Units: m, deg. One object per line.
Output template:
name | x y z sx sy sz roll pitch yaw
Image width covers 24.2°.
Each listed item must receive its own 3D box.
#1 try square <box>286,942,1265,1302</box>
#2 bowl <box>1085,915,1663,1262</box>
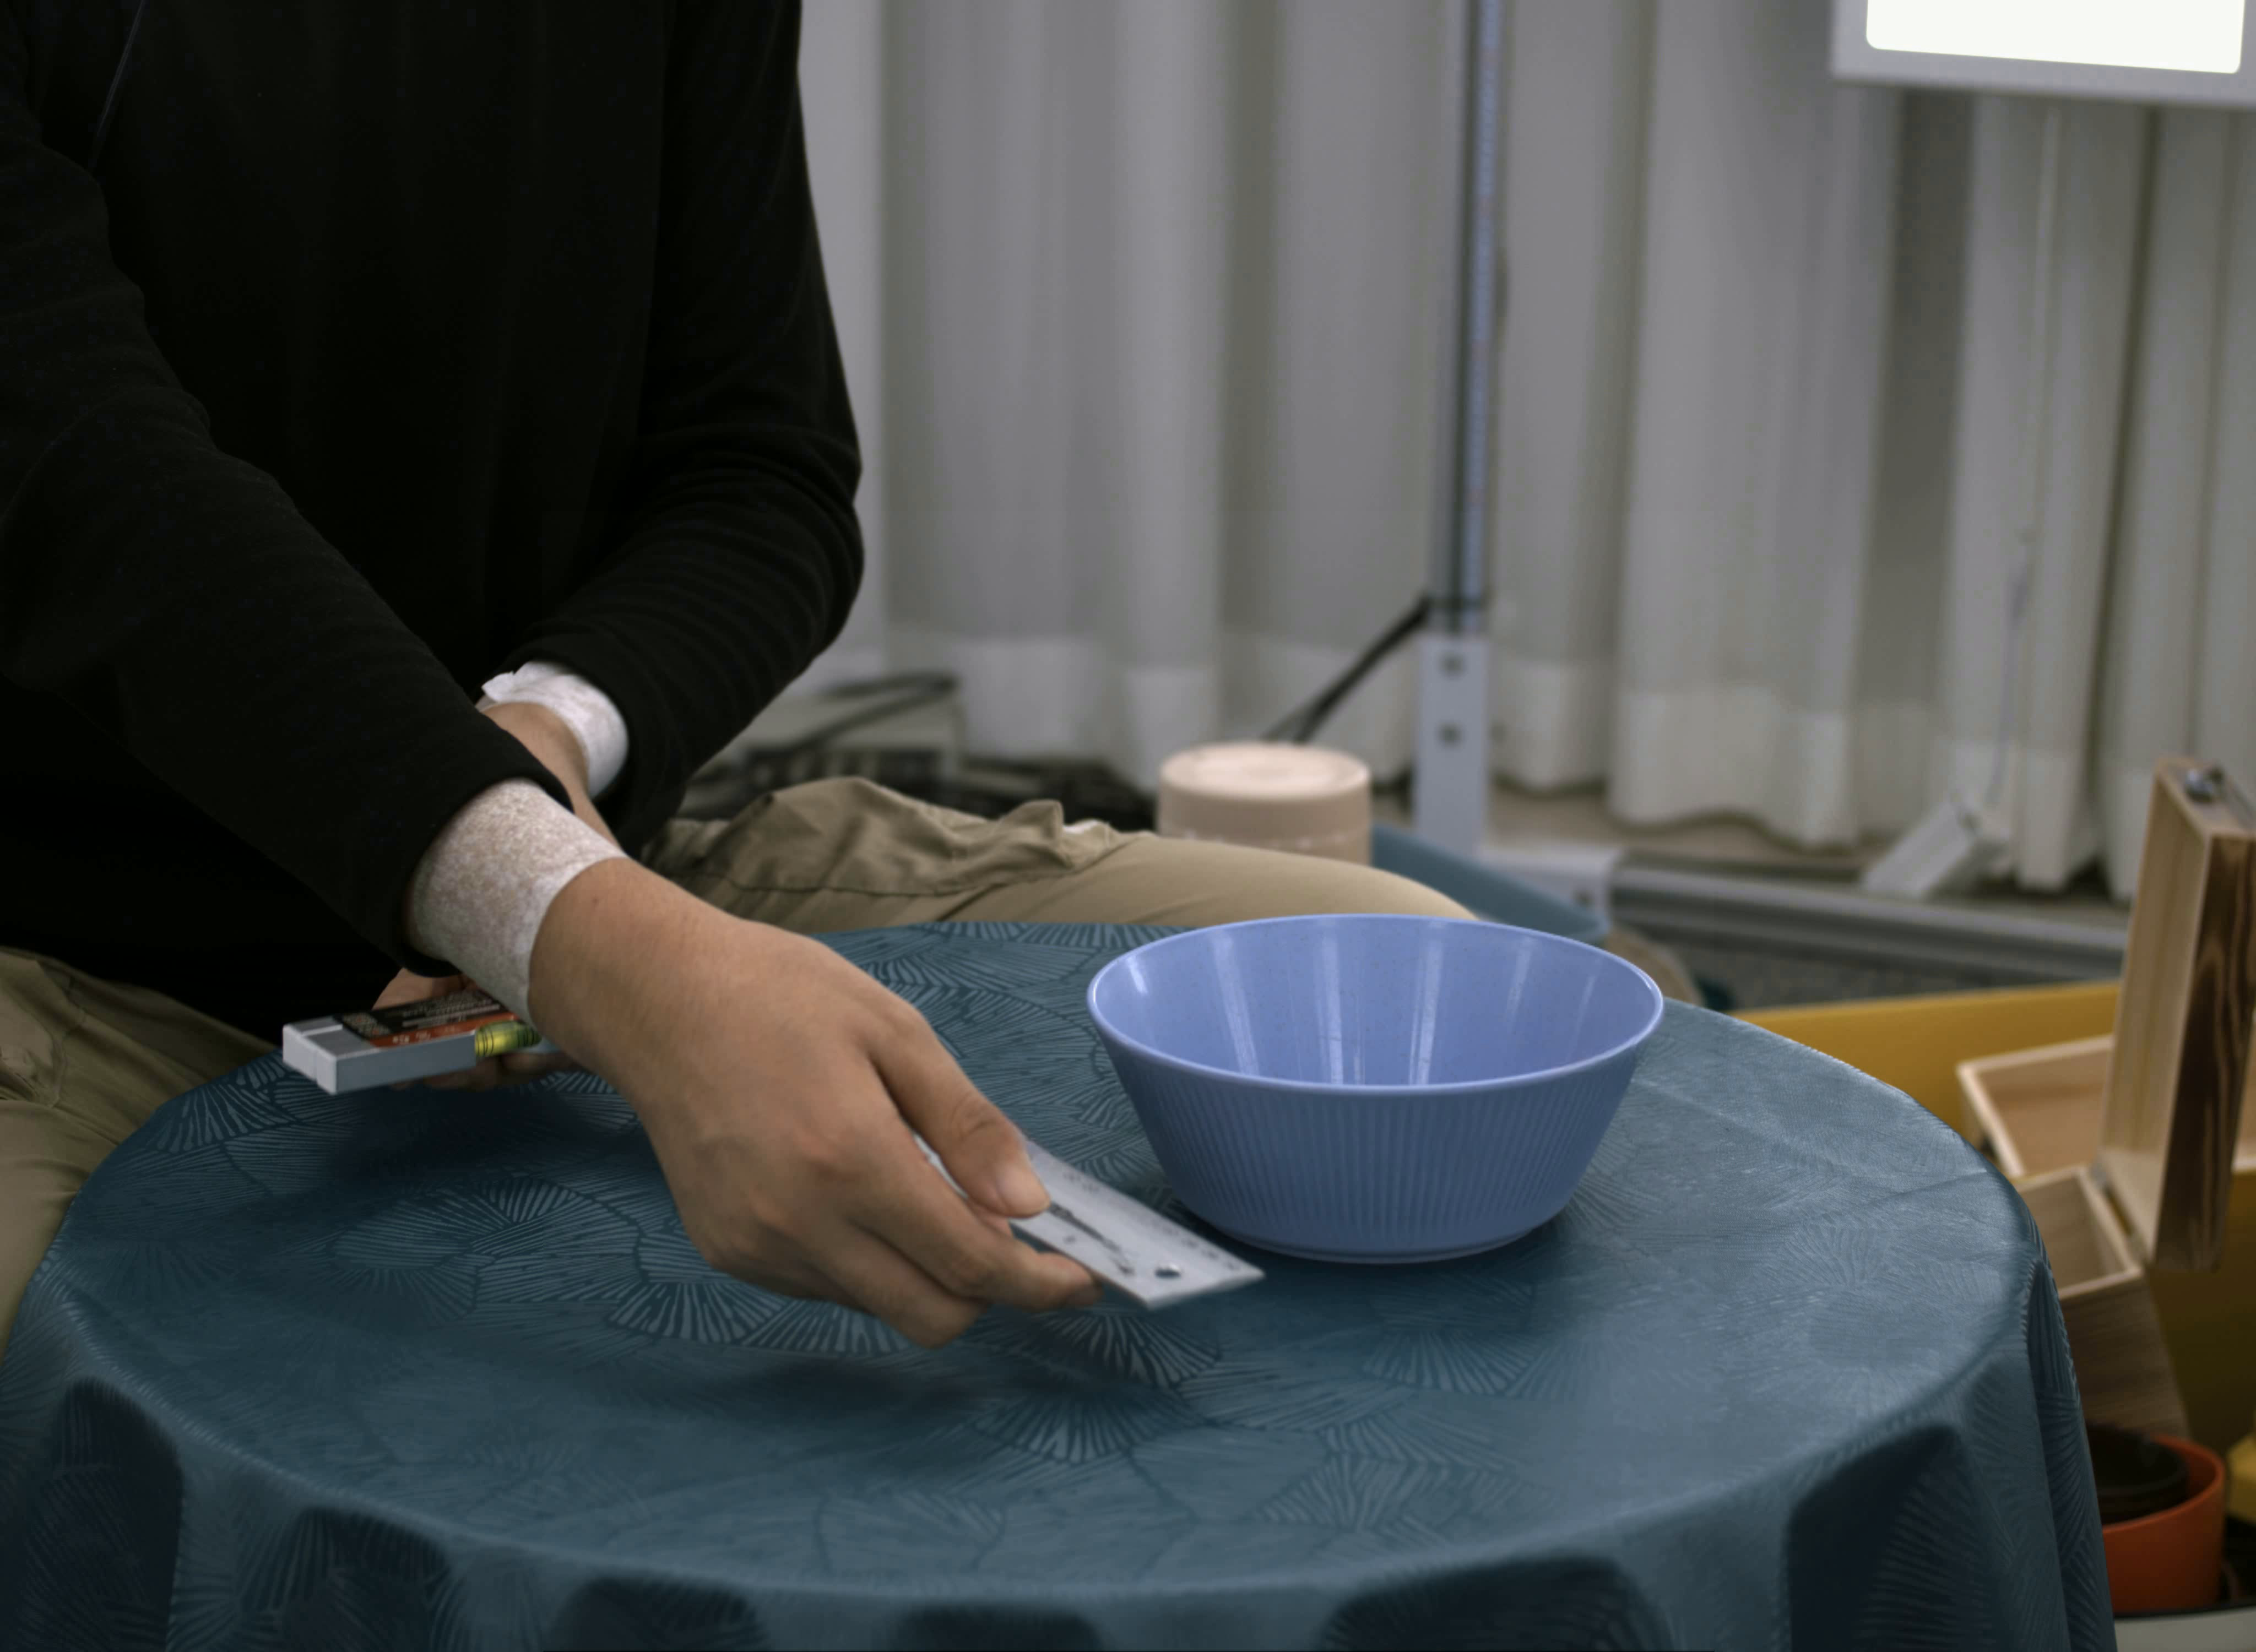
try square | -0.110 0.096 1.534 0.153 0.016 0.308 -14 23 -31
bowl | 0.074 0.082 1.602 0.175 0.071 0.175 0 16 0
